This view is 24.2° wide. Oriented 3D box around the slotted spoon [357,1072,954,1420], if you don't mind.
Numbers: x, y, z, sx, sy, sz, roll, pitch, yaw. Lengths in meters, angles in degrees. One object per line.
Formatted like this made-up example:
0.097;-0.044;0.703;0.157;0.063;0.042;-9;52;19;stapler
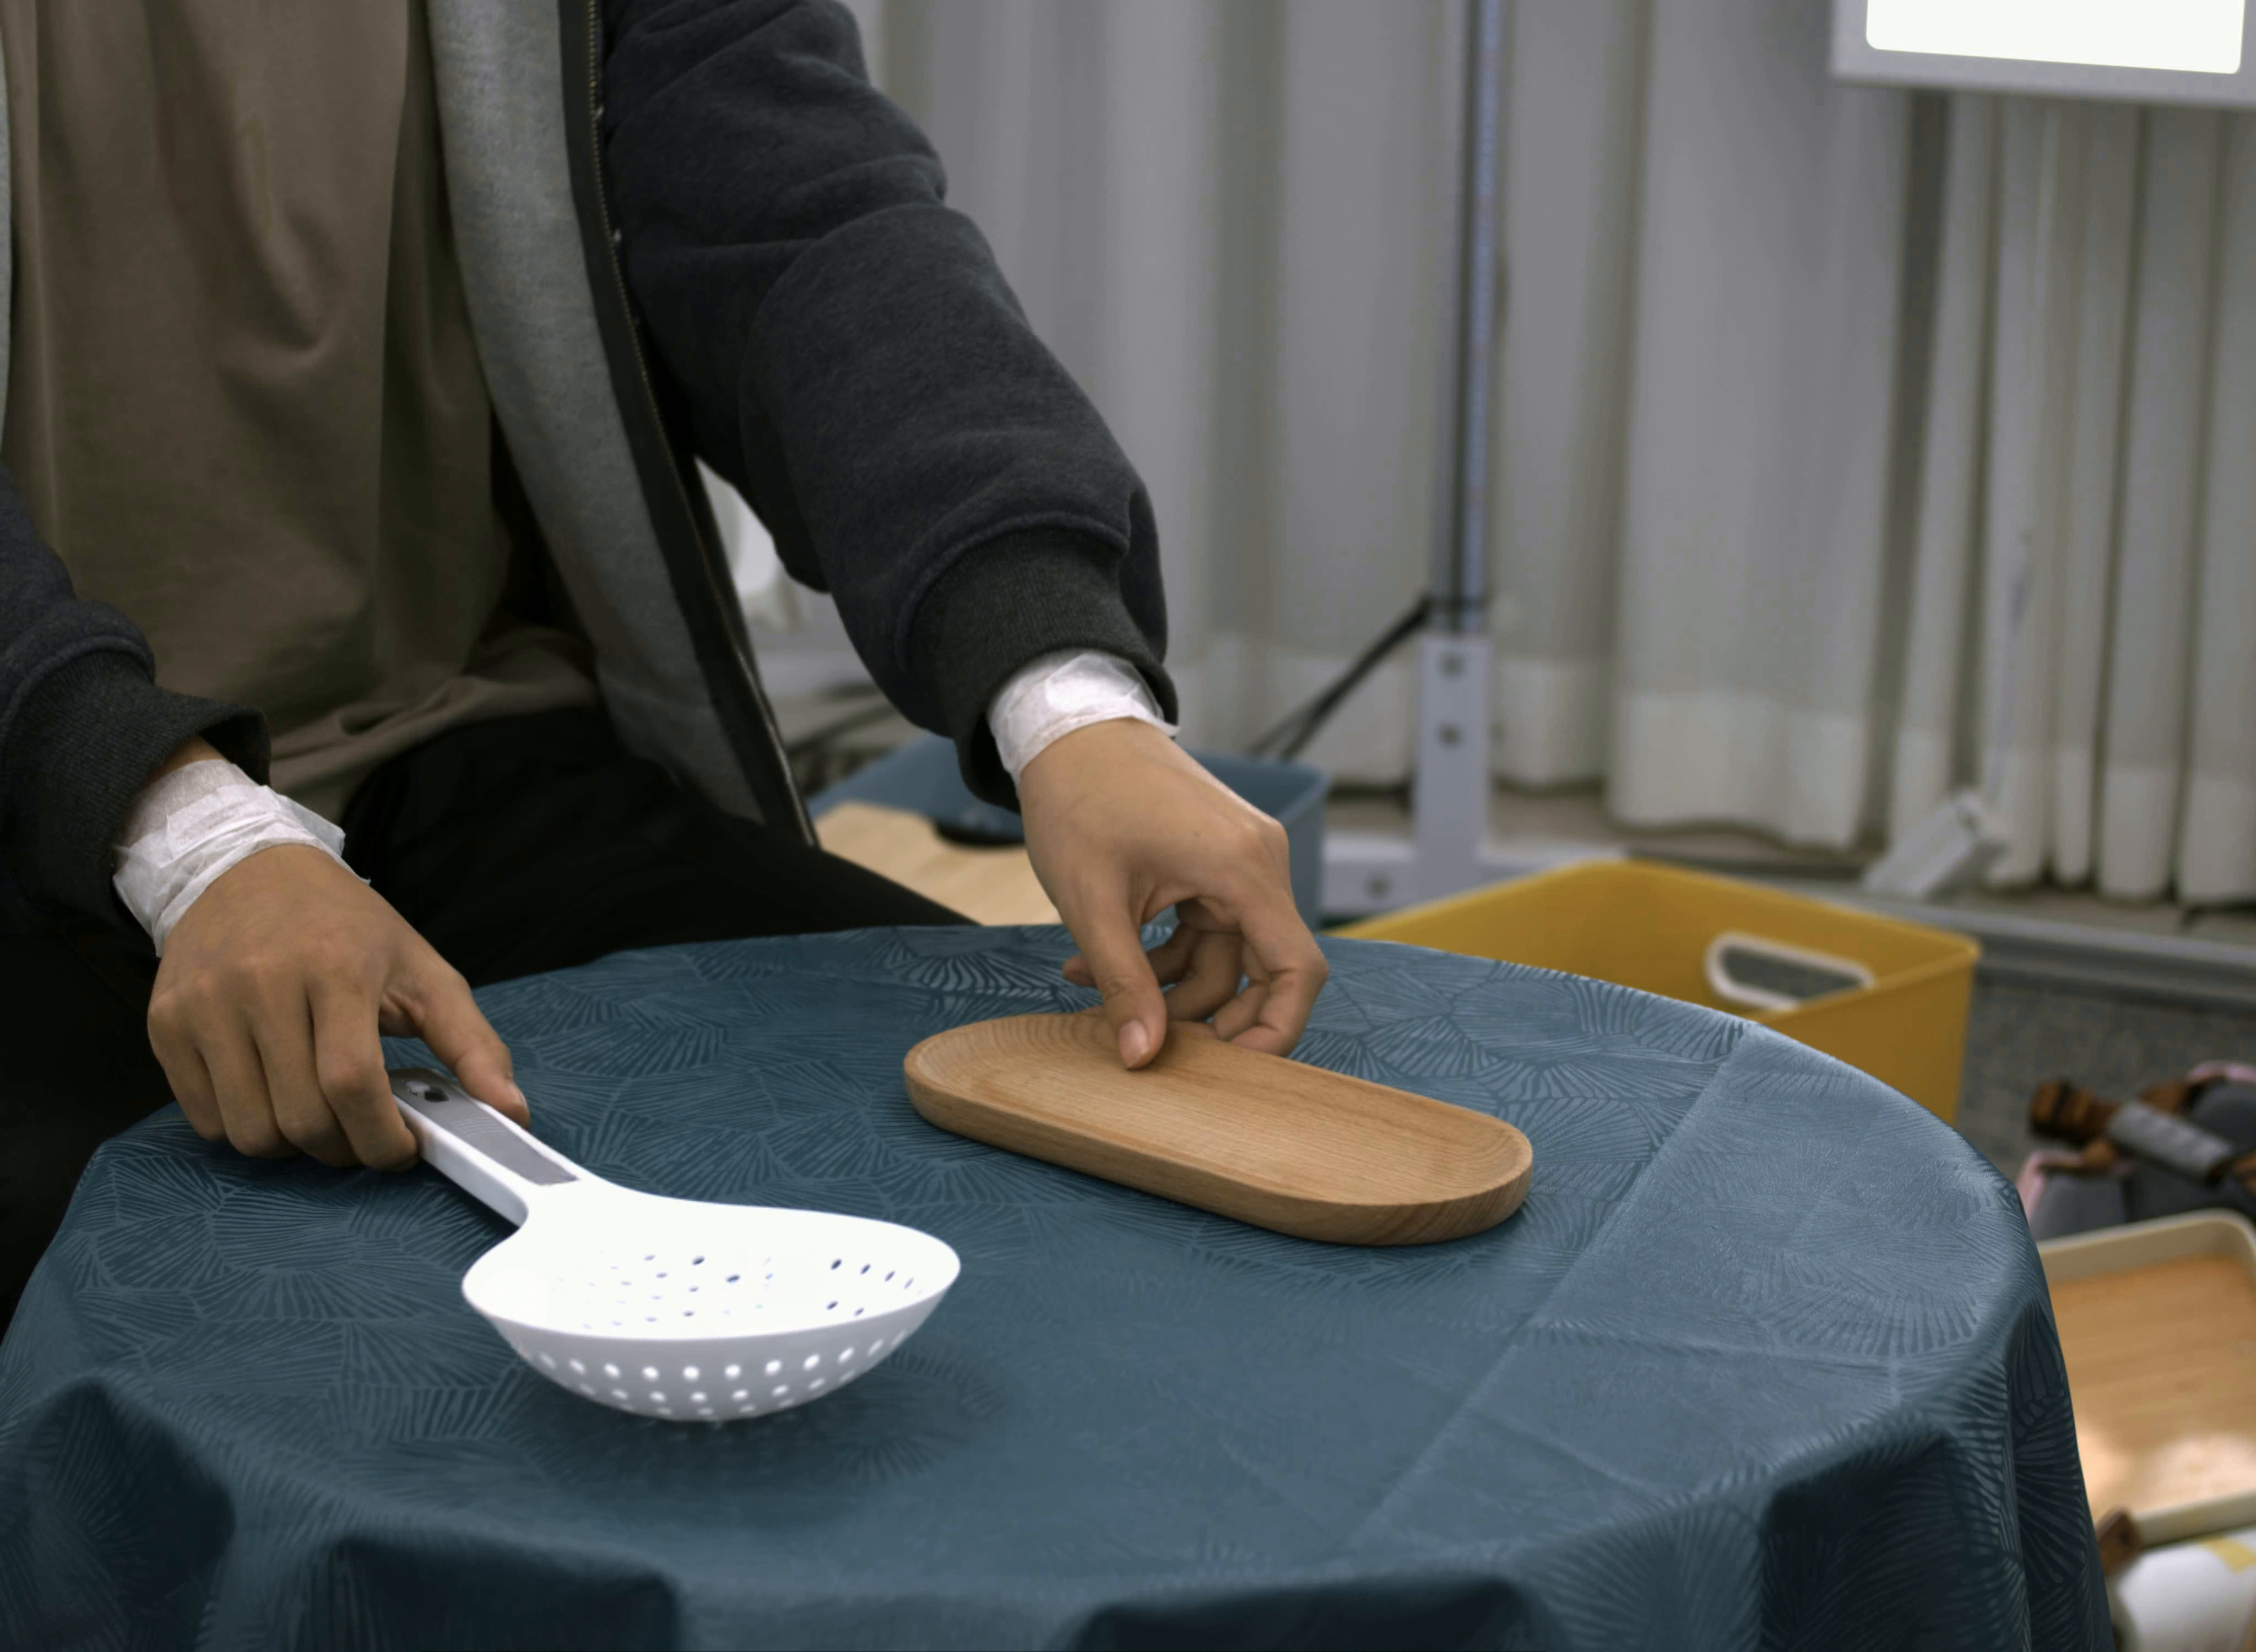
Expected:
-0.162;0.112;1.531;0.136;0.046;0.345;-4;15;-26;slotted spoon

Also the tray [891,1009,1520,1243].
0.022;0.093;1.661;0.228;0.020;0.102;13;19;40;tray
